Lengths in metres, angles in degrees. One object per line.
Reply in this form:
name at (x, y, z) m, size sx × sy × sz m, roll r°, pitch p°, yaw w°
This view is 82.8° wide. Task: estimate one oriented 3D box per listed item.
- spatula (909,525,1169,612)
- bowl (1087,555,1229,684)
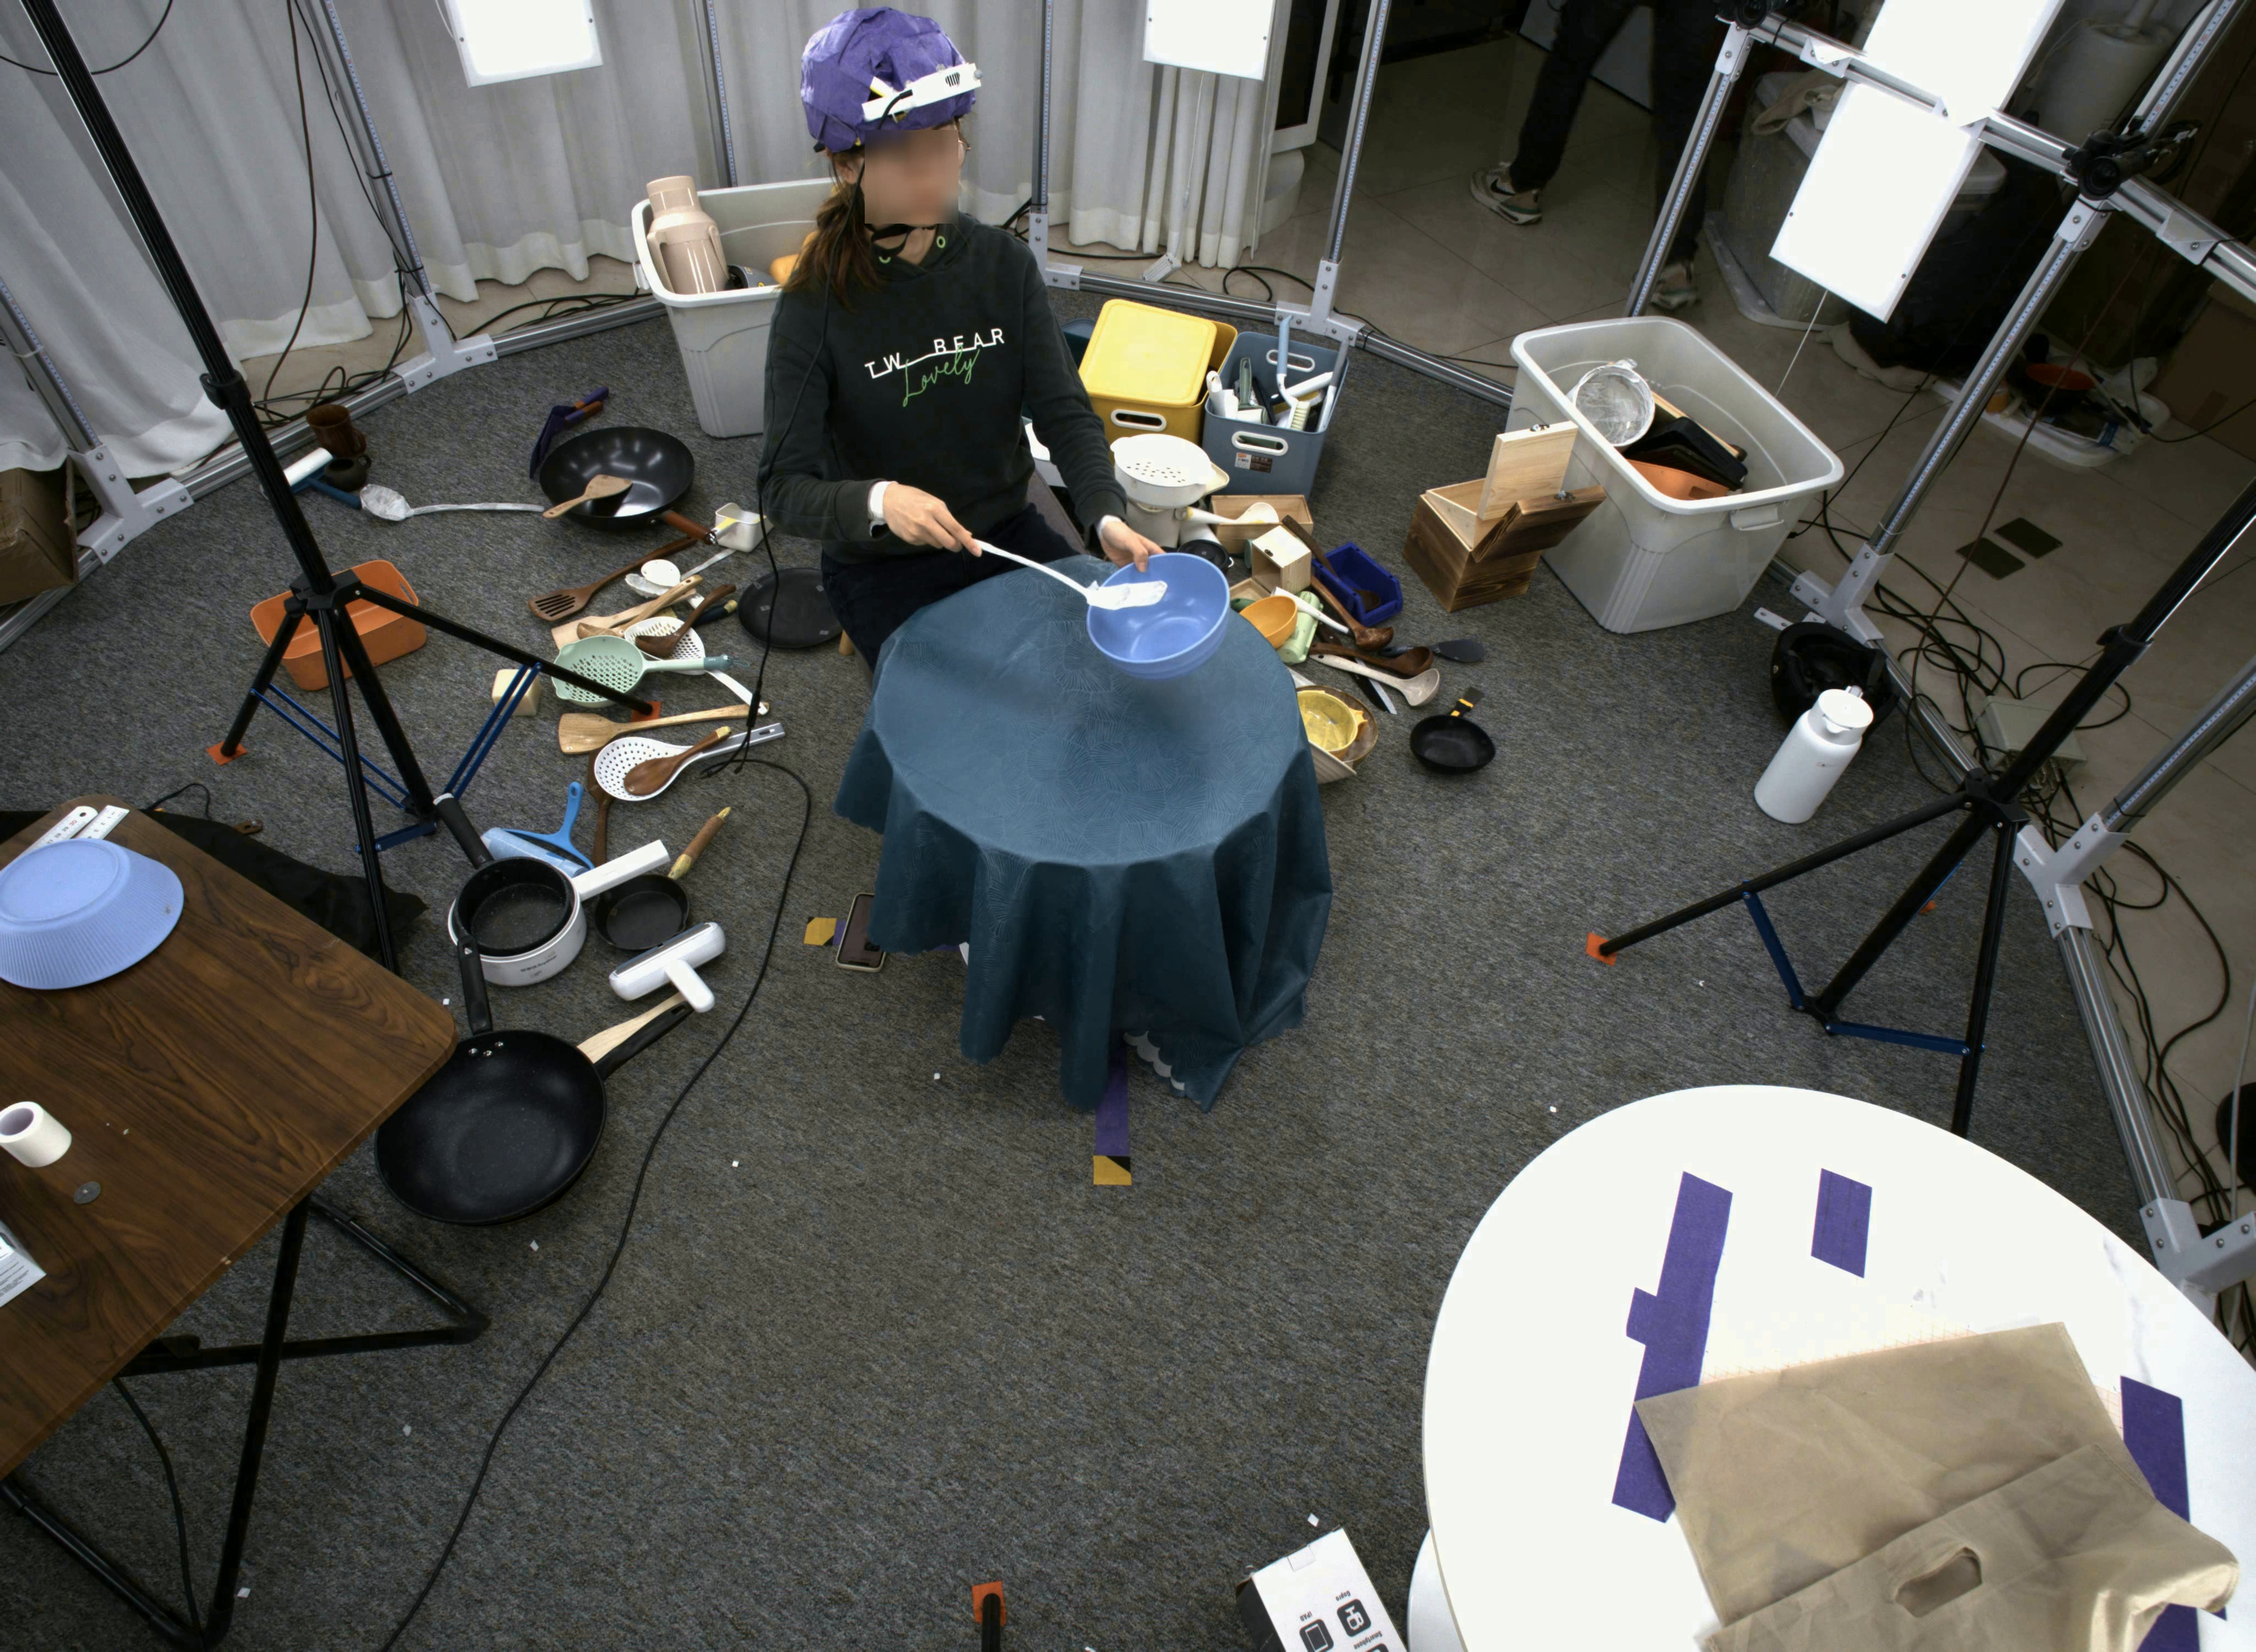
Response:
spatula at (-0.124, -0.347, 1.702) m, size 0.366 × 0.044 × 0.100 m, roll 22°, pitch 33°, yaw 6°
bowl at (0.051, -0.266, 1.752) m, size 0.196 × 0.093 × 0.201 m, roll -9°, pitch 54°, yaw 12°
